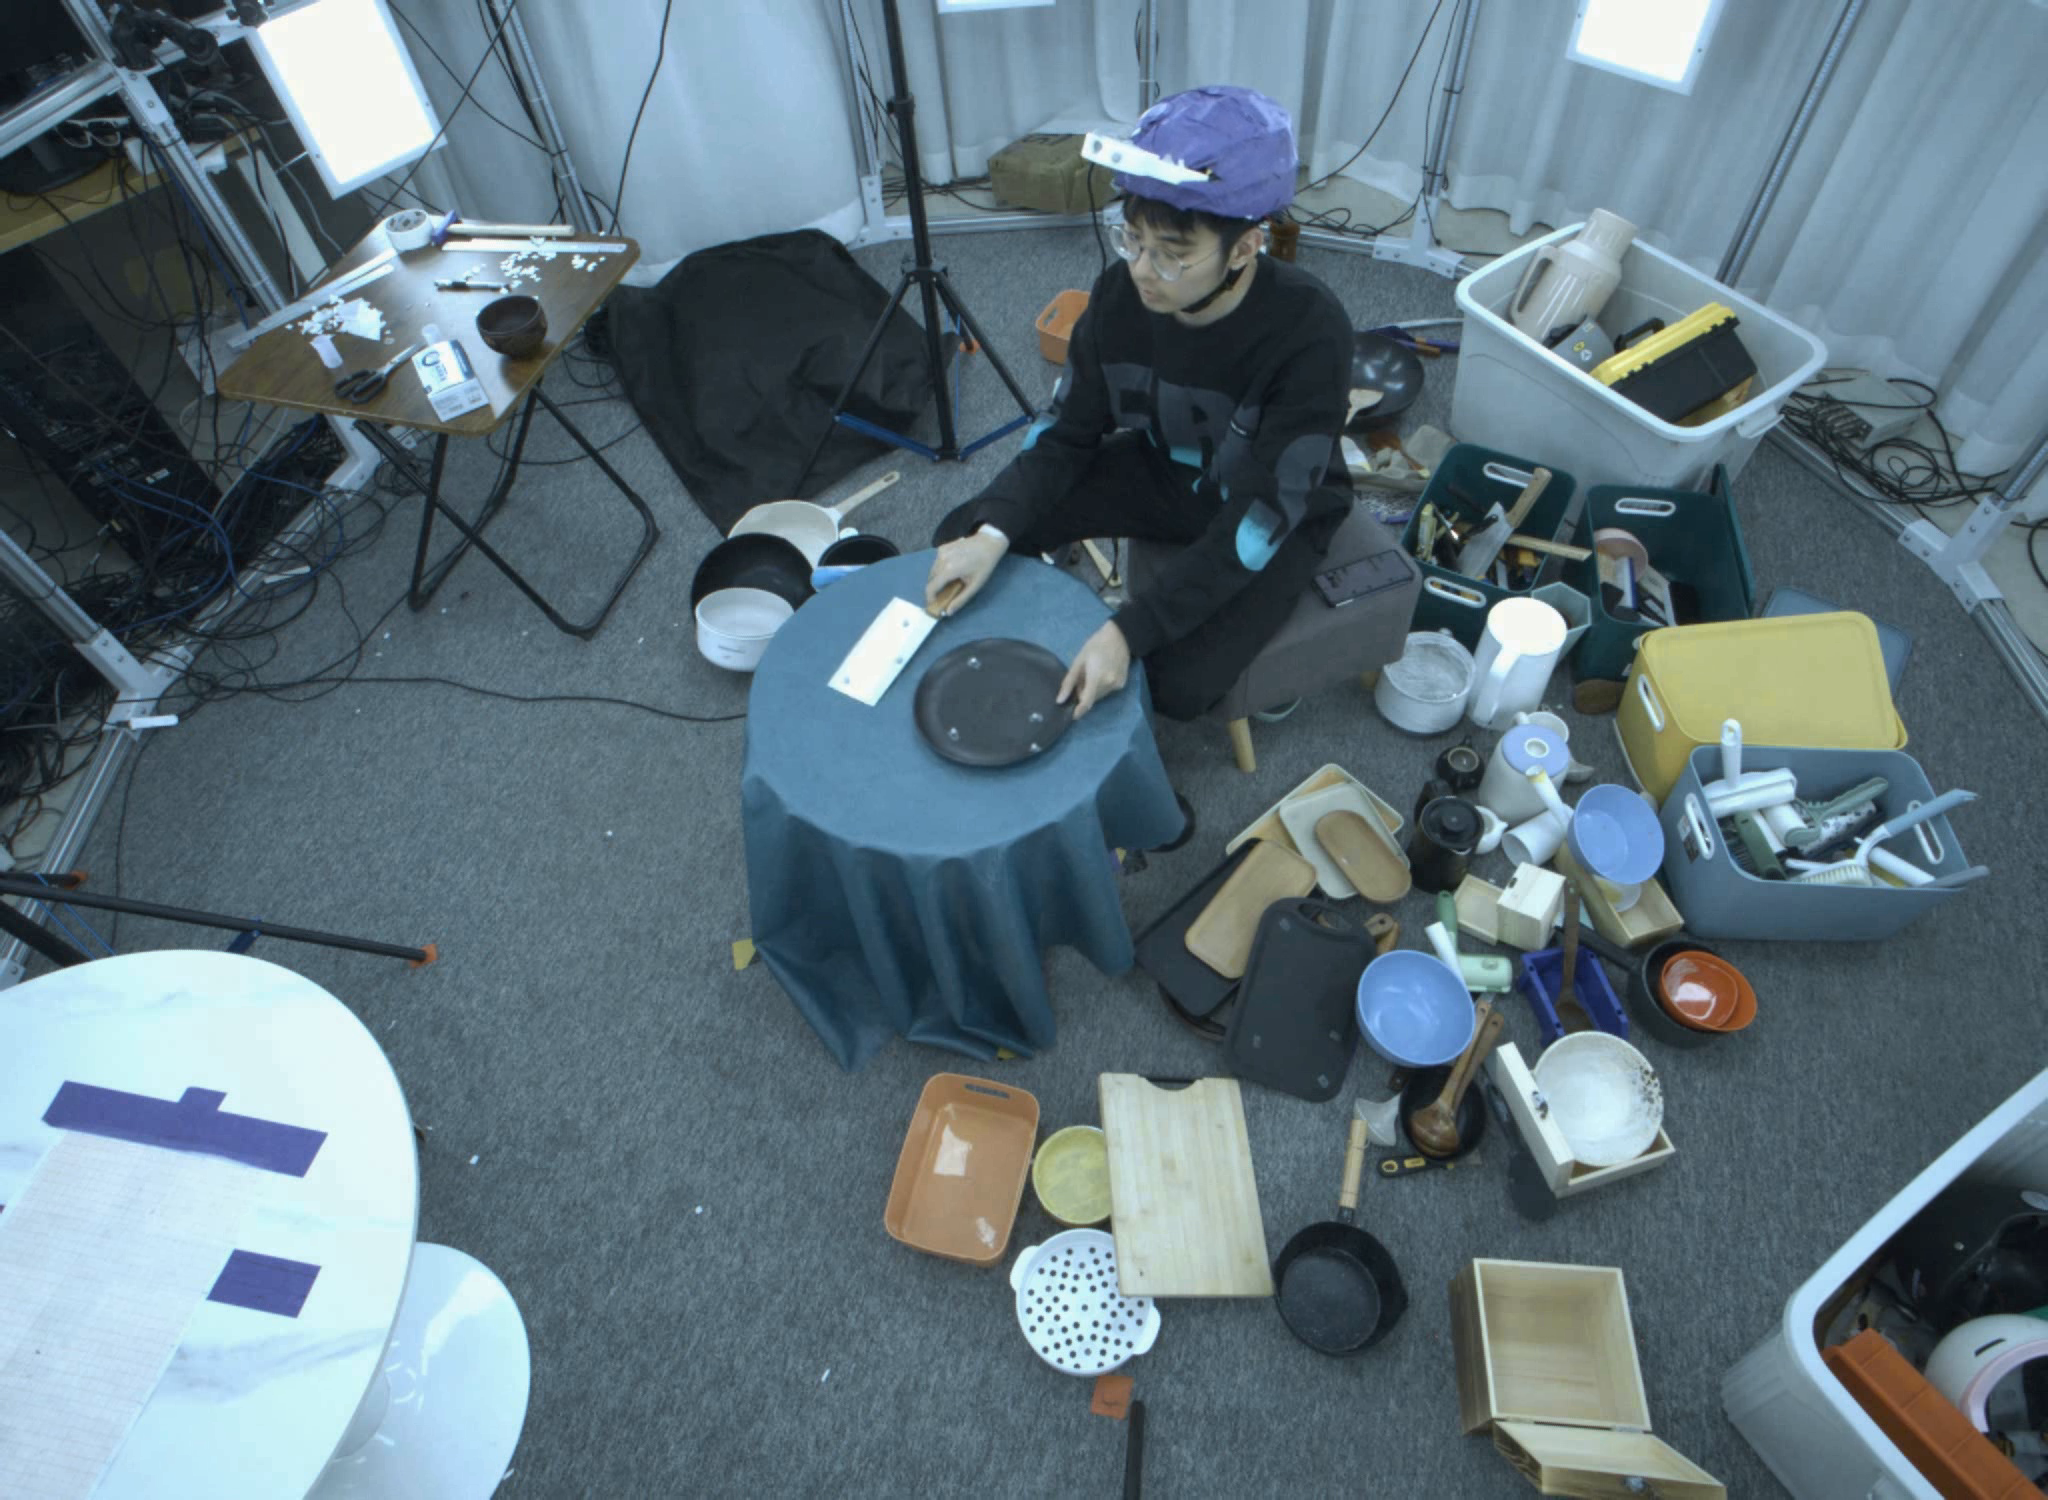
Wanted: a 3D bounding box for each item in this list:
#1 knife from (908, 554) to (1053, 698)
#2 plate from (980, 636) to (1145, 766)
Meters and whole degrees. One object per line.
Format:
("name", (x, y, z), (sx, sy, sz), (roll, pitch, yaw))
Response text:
("knife", (-0.071, -0.206, 1.915), (0.091, 0.021, 0.306), (29, 67, 21))
("plate", (0.057, -0.071, 1.819), (0.244, 0.024, 0.242), (-1, 54, 3))
